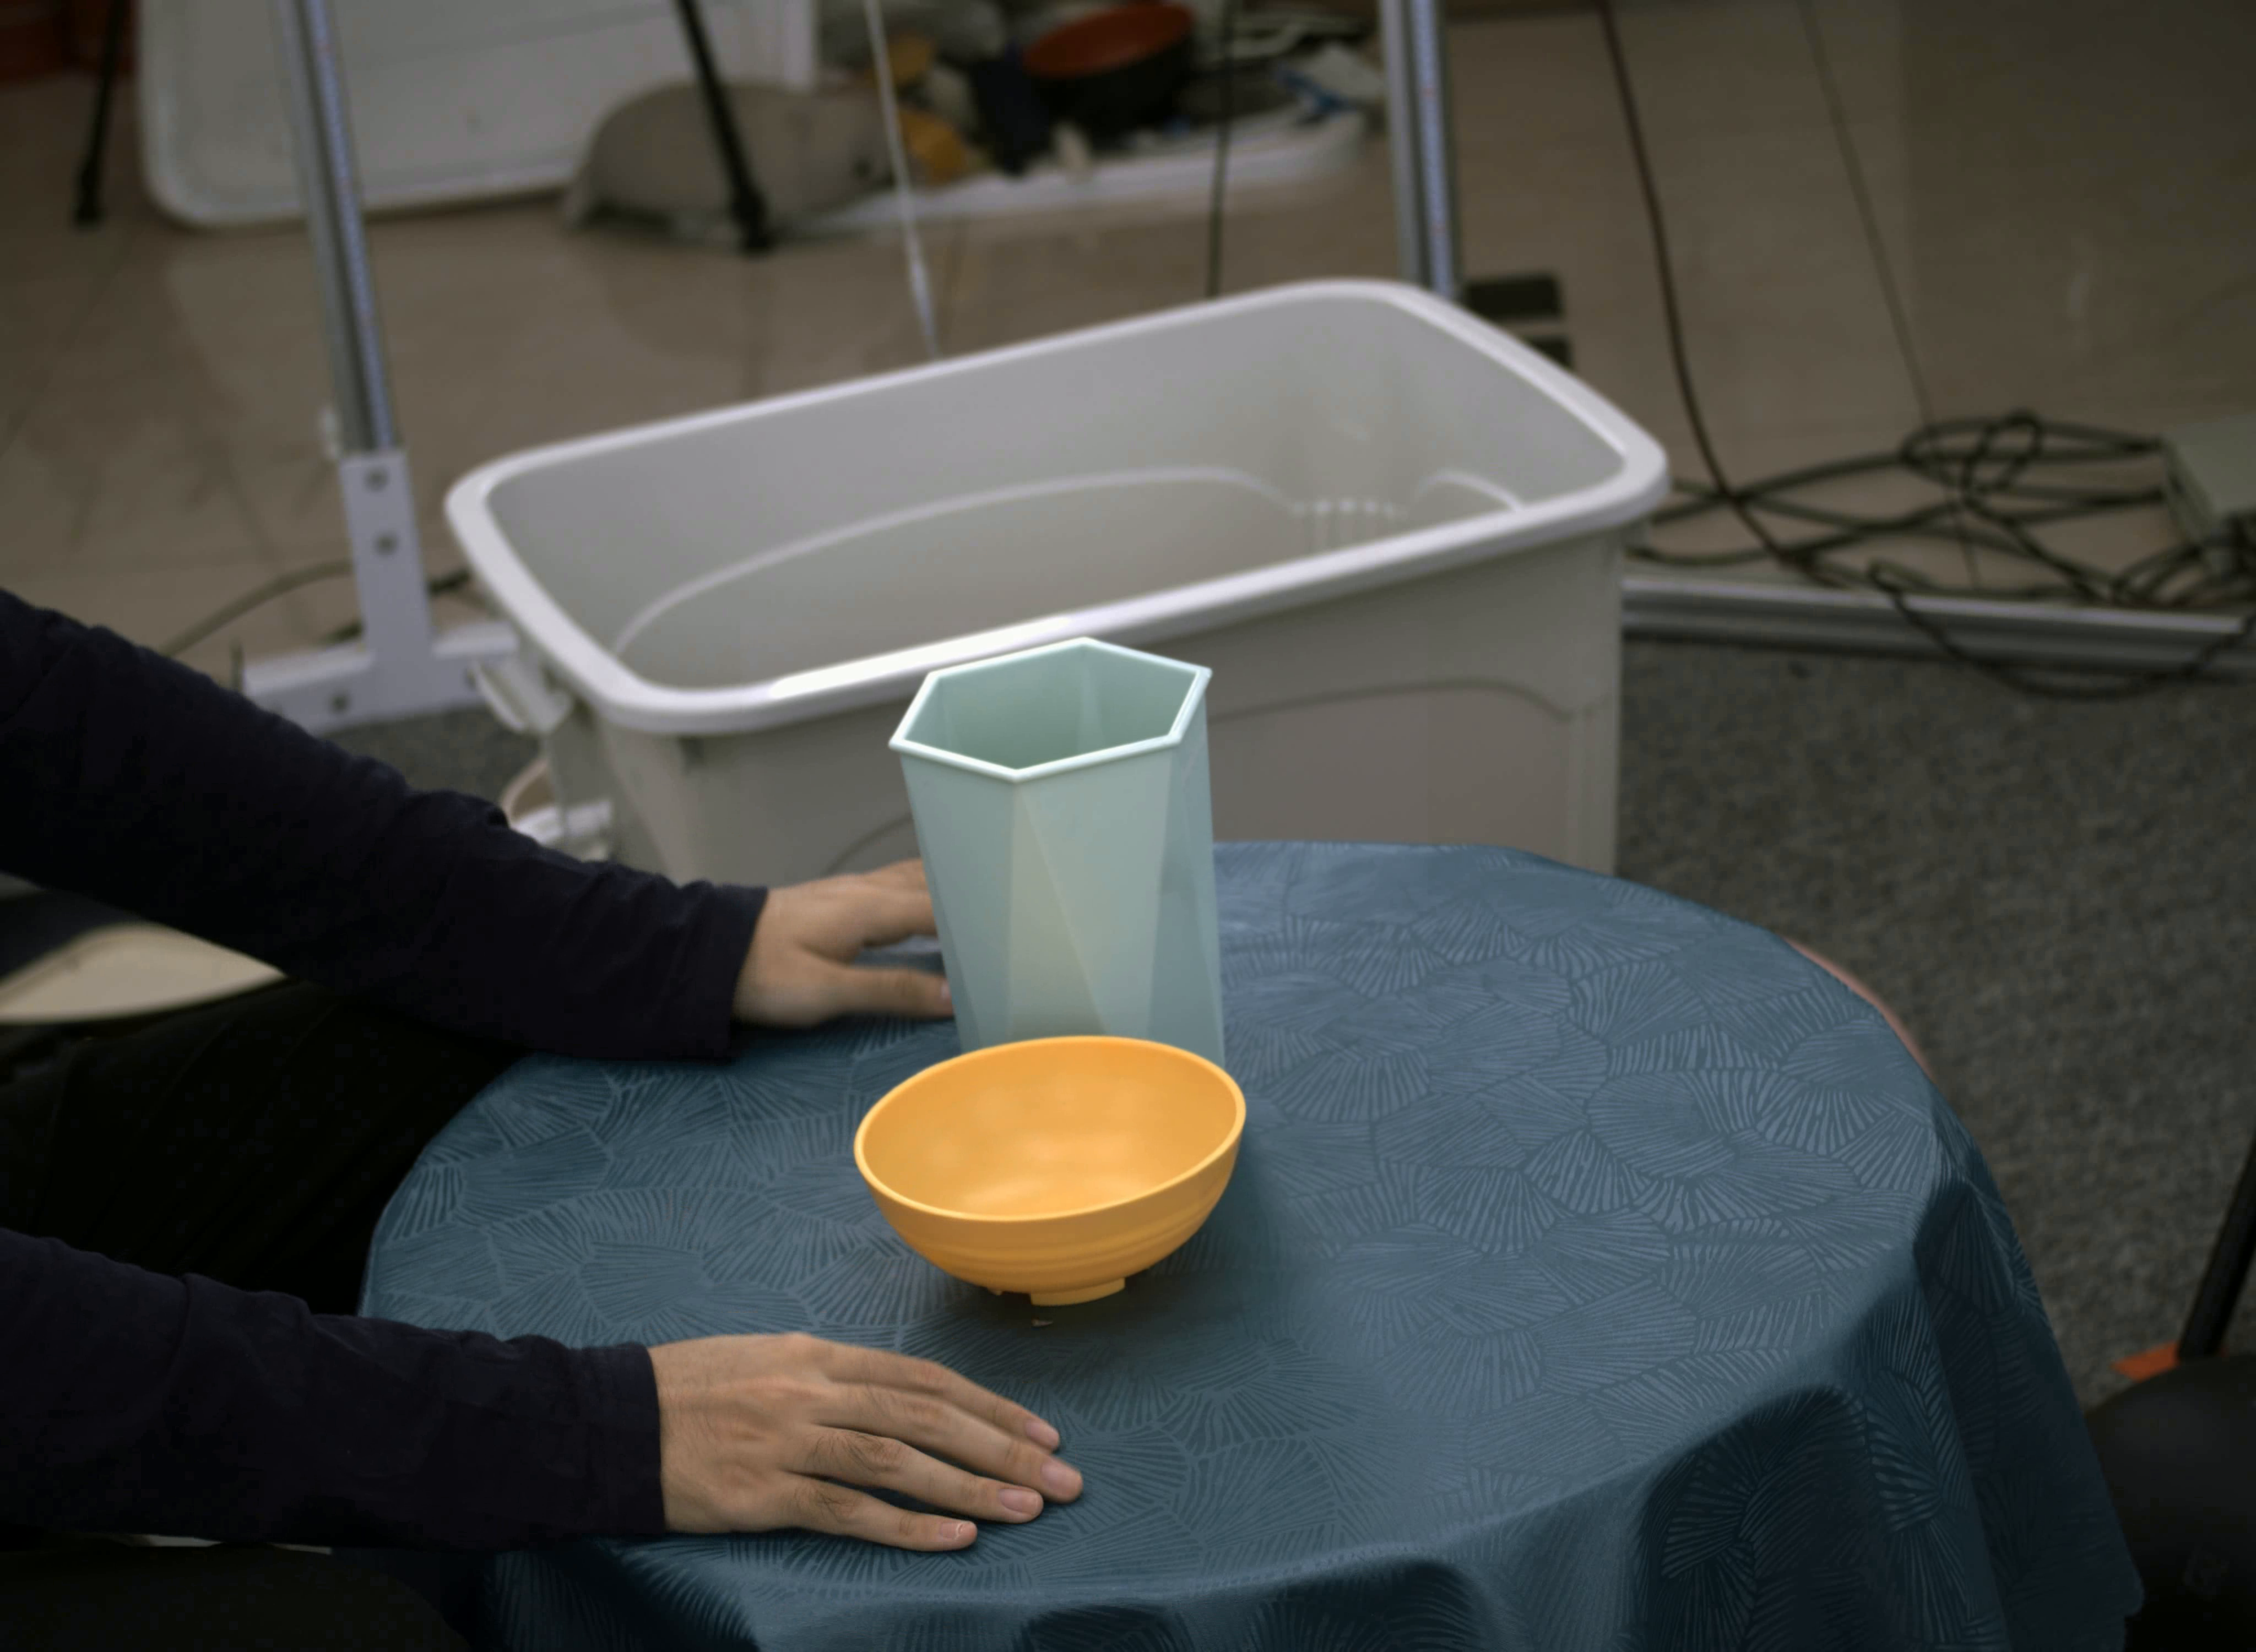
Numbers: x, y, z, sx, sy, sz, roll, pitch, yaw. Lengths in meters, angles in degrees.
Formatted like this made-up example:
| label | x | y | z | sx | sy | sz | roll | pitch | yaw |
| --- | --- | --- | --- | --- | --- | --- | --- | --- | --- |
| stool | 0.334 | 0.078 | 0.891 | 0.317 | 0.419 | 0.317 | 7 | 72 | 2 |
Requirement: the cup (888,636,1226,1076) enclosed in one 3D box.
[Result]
| label | x | y | z | sx | sy | sz | roll | pitch | yaw |
| --- | --- | --- | --- | --- | --- | --- | --- | --- | --- |
| cup | -0.020 | 0.024 | 2.204 | 0.115 | 0.165 | 0.129 | -2 | 25 | 12 |

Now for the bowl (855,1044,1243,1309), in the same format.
| label | x | y | z | sx | sy | sz | roll | pitch | yaw |
| --- | --- | --- | --- | --- | --- | --- | --- | --- | --- |
| bowl | -0.026 | 0.137 | 2.090 | 0.145 | 0.061 | 0.143 | -6 | 24 | 3 |
